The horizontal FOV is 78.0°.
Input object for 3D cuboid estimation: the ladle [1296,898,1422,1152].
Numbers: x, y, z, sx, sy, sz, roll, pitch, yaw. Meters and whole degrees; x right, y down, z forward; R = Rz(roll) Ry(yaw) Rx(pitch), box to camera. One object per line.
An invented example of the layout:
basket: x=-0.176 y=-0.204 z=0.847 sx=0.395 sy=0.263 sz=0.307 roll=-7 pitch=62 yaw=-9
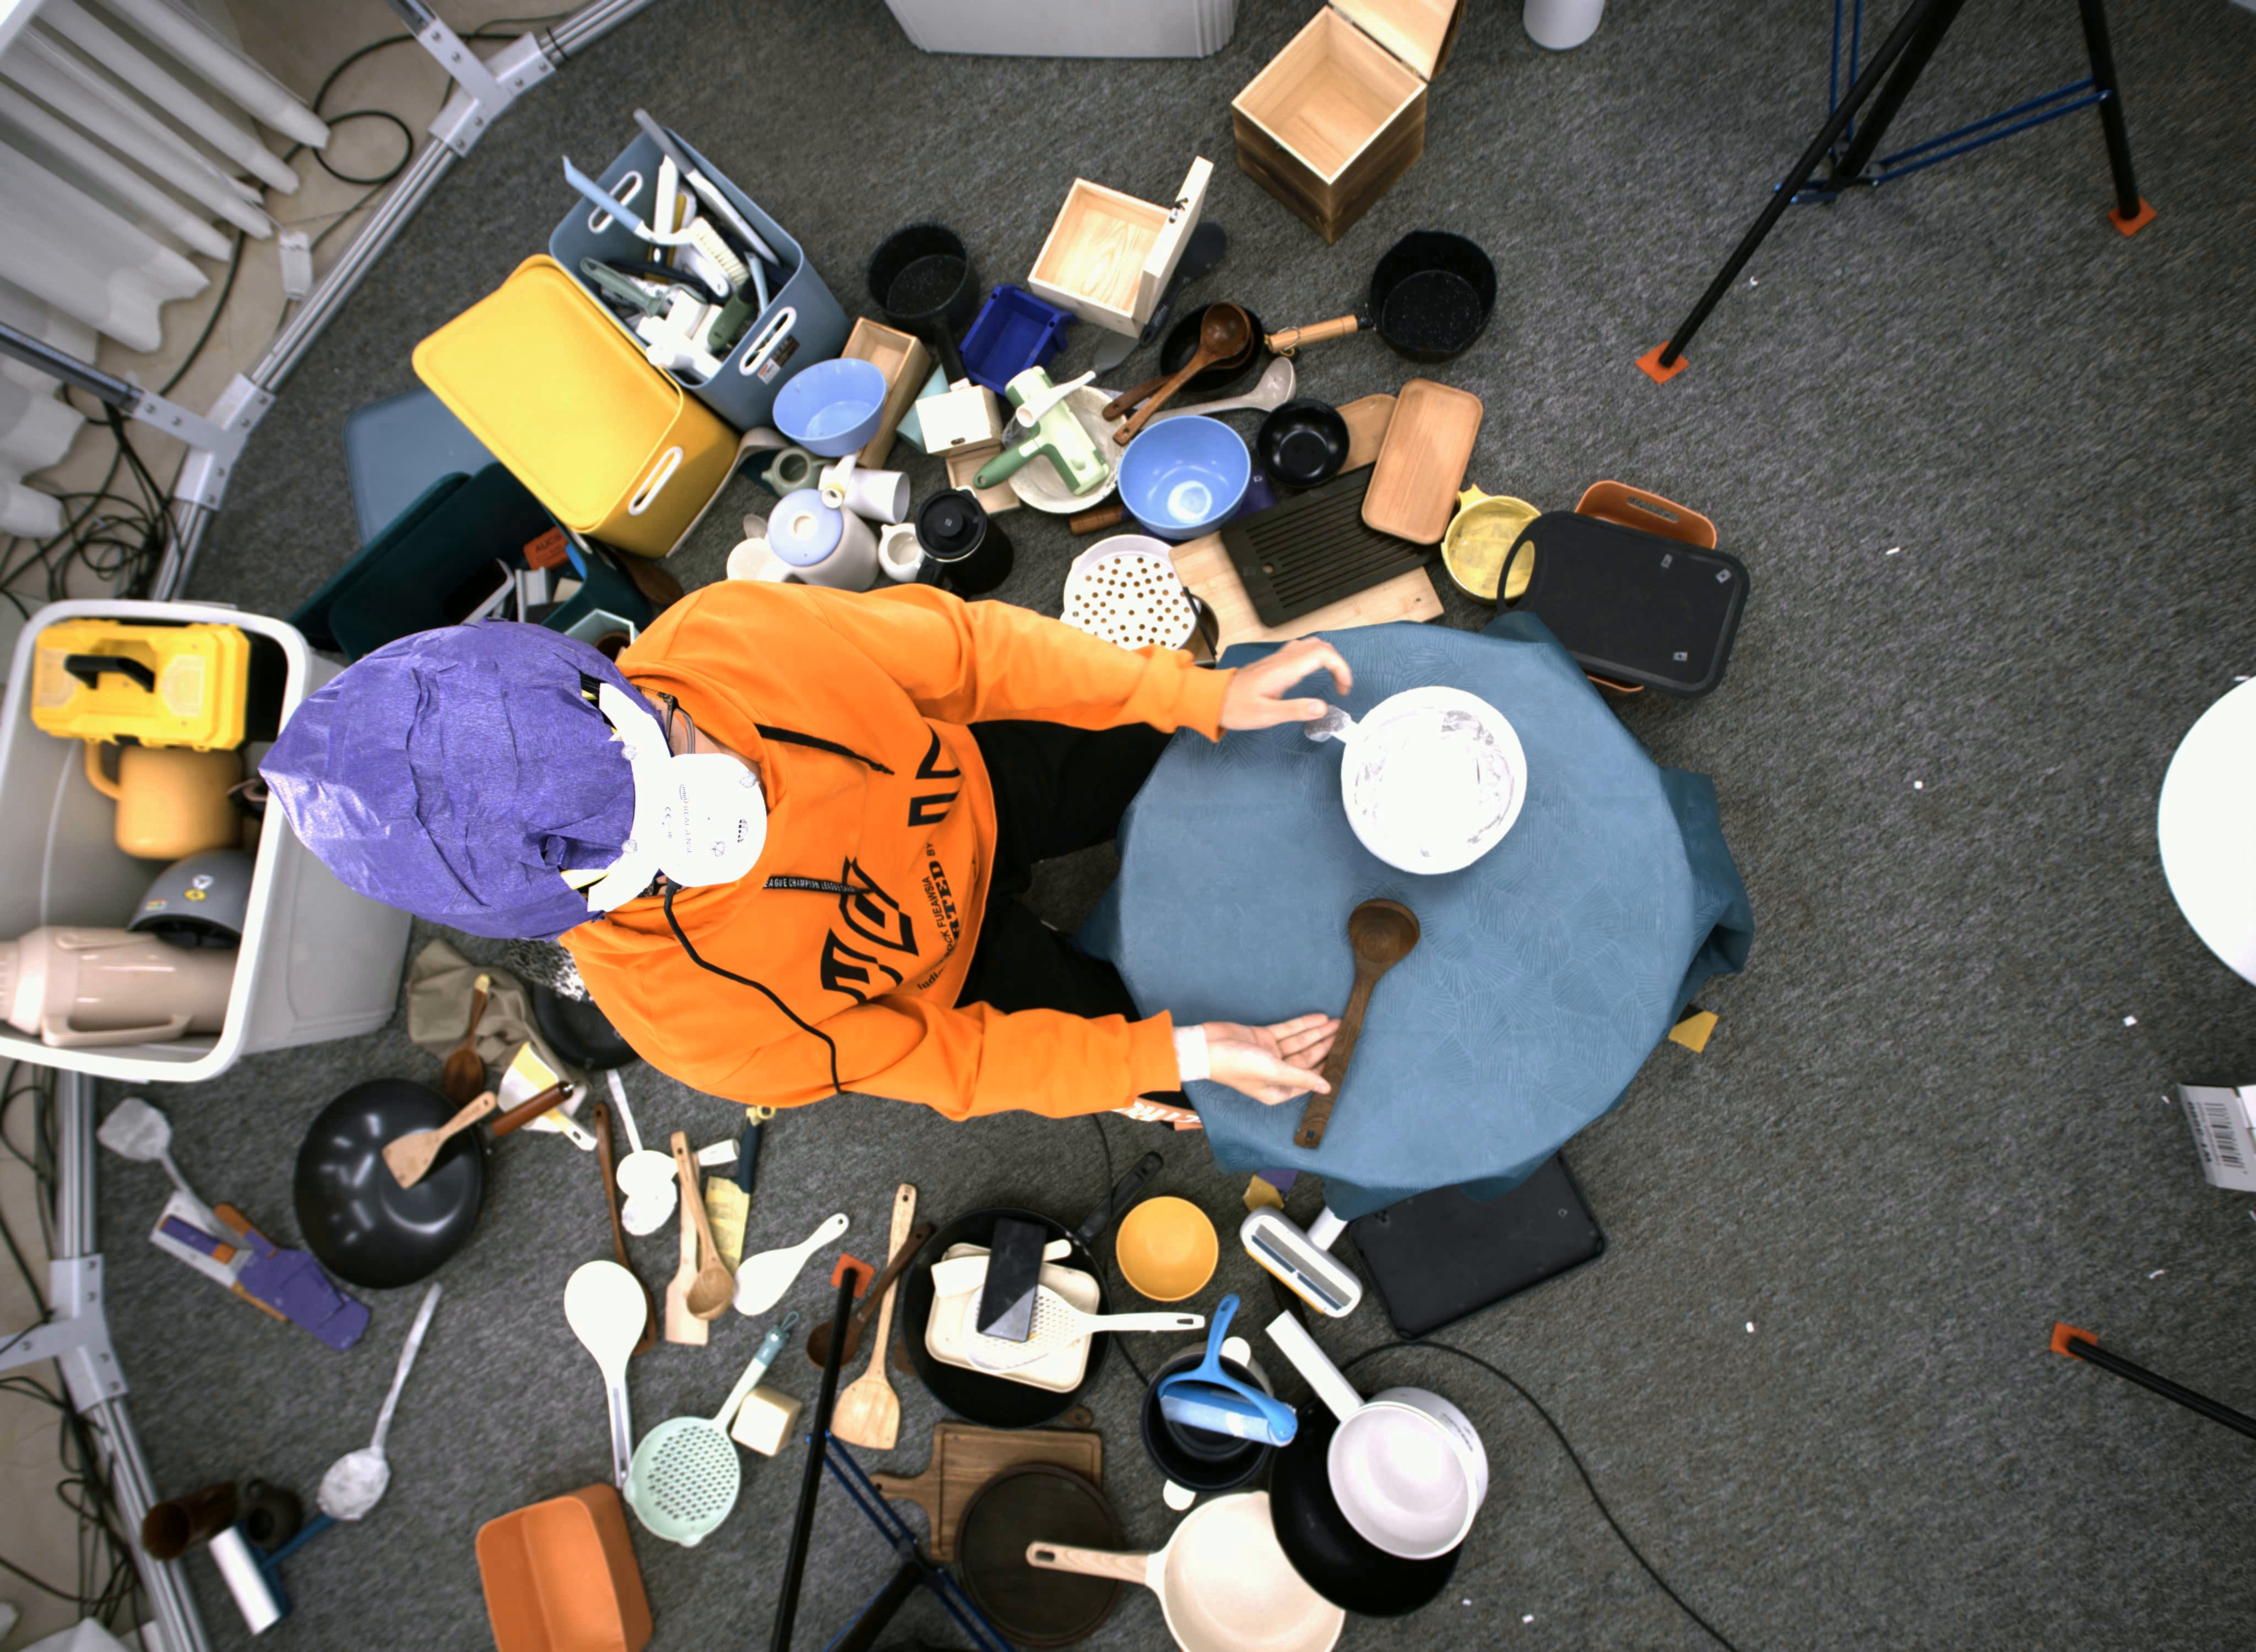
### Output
ladle: x=0.229 y=0.205 z=1.424 sx=0.076 sy=0.071 sz=0.273 roll=20 pitch=89 yaw=13

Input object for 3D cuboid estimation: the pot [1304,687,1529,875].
pot: x=0.282 y=-0.057 z=1.395 sx=0.233 sy=0.137 sz=0.179 roll=31 pitch=91 yaw=10
